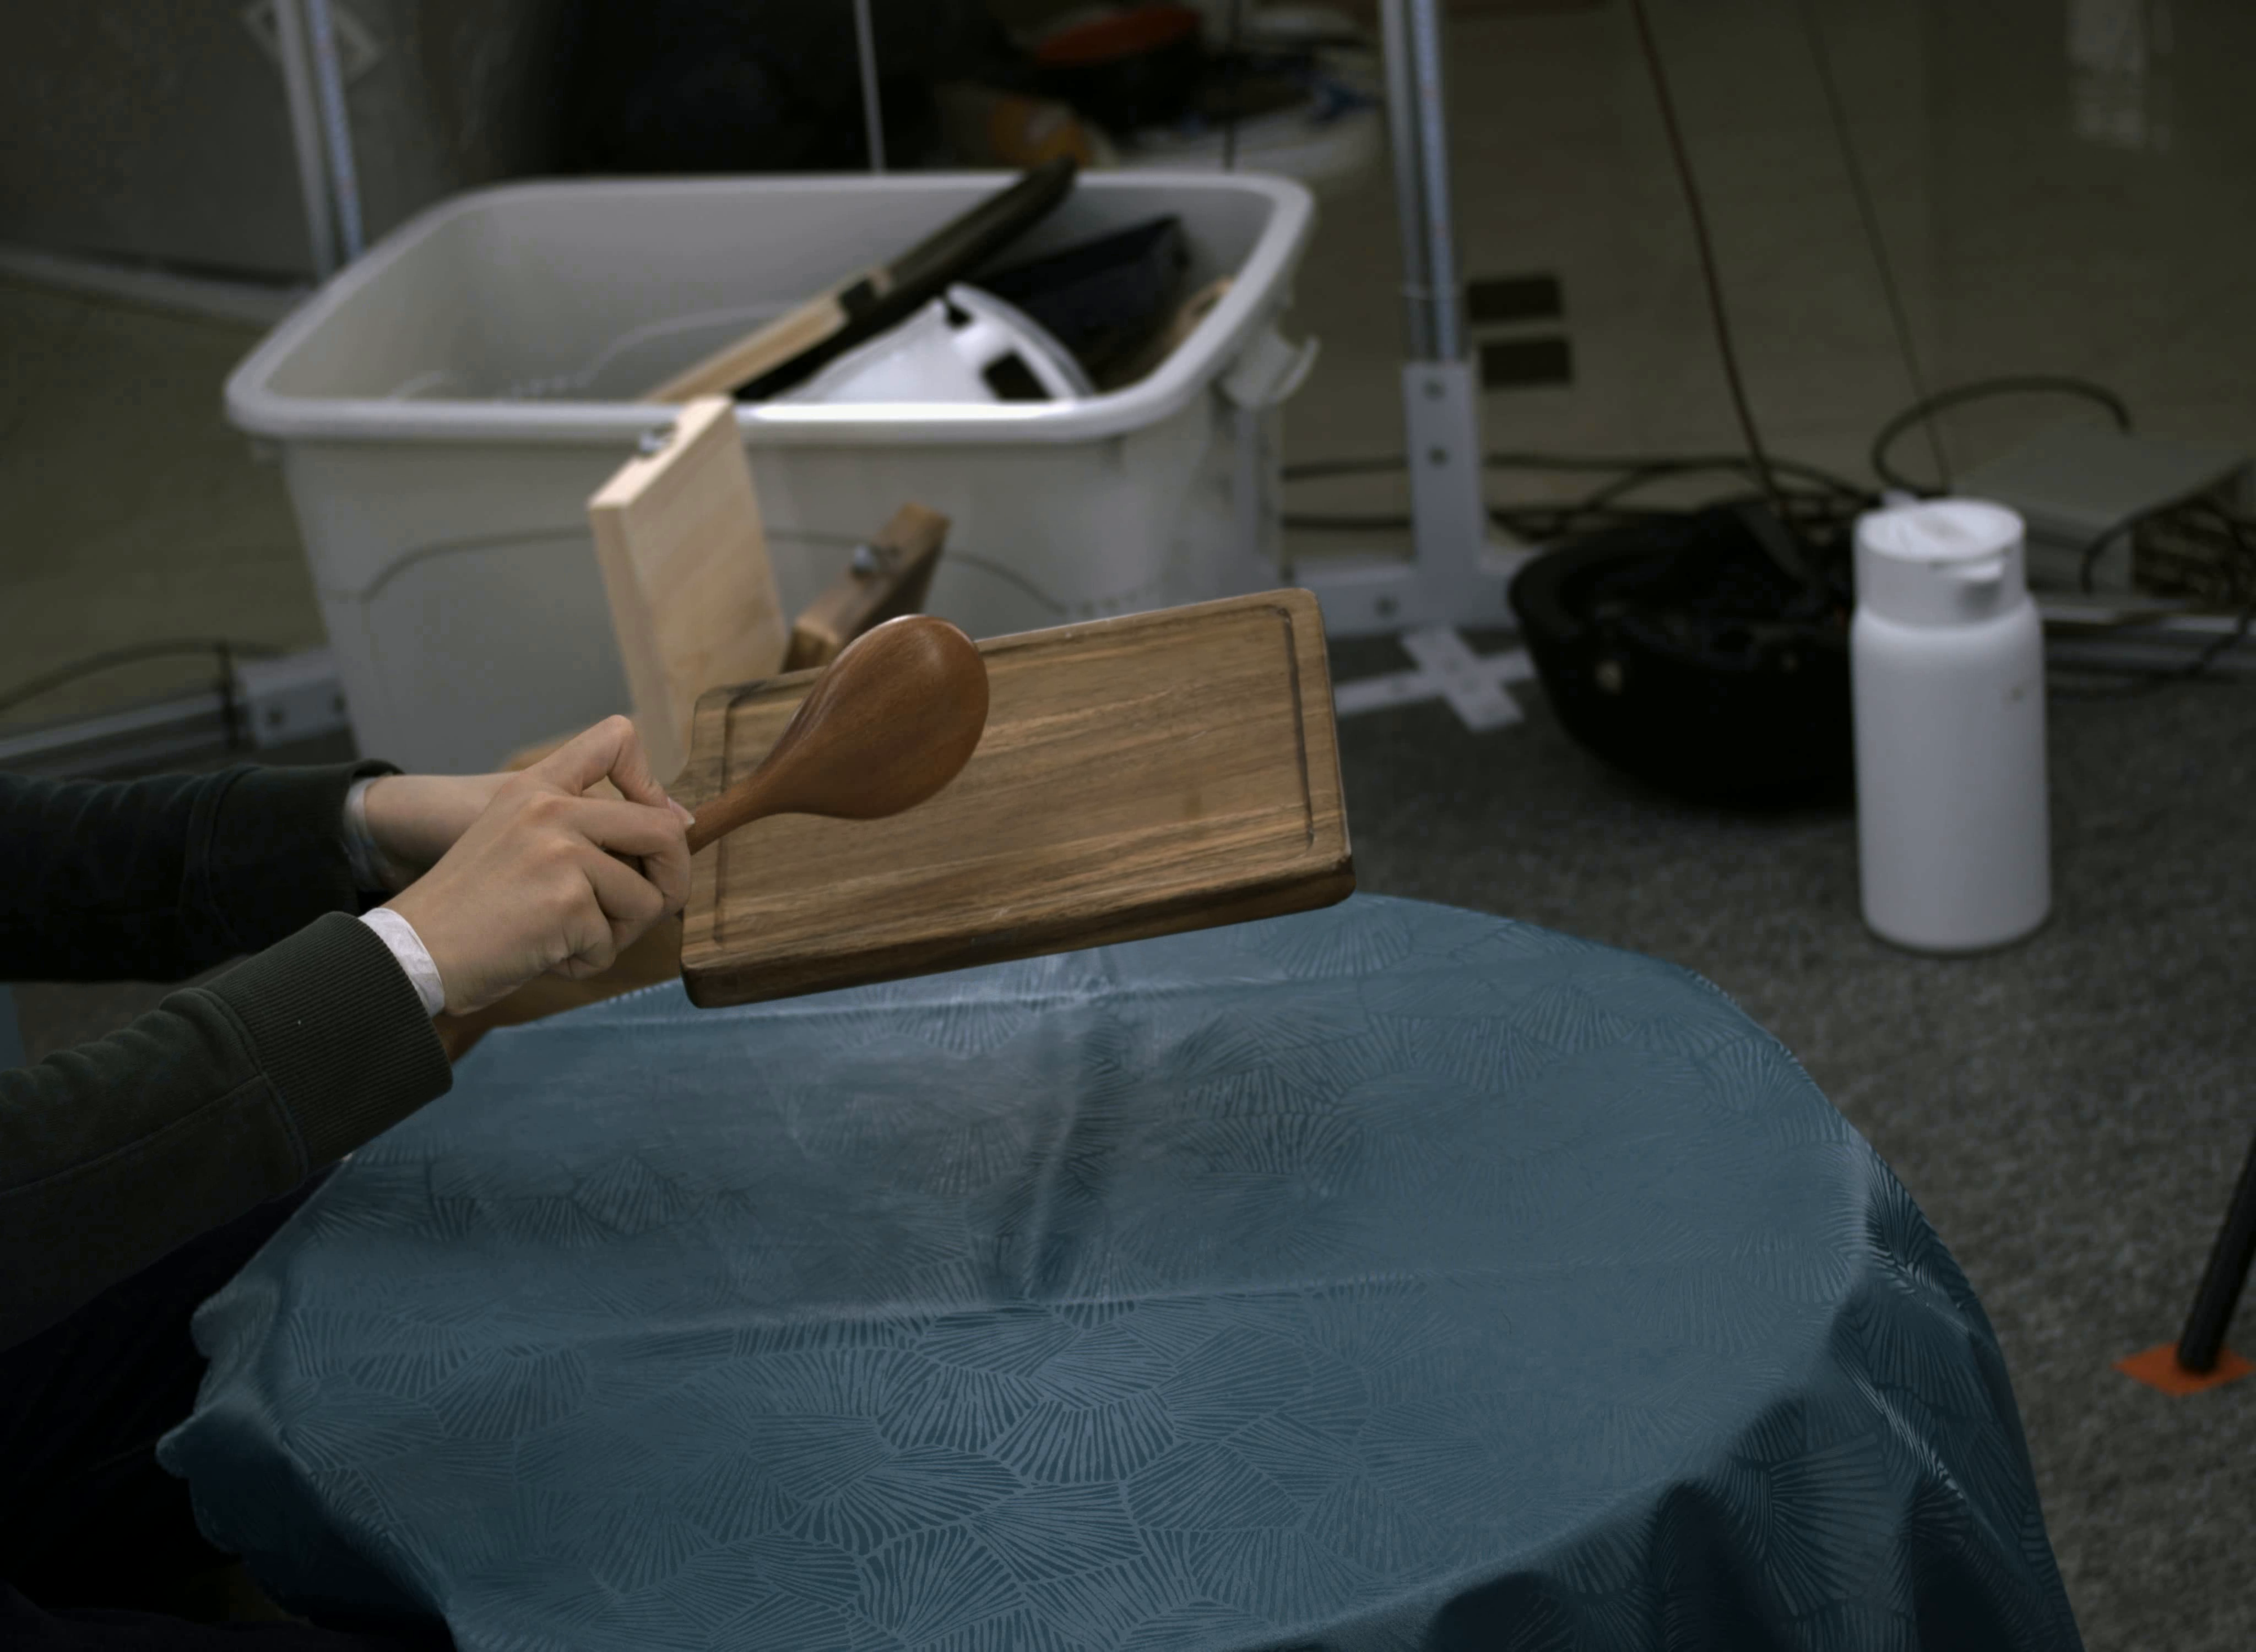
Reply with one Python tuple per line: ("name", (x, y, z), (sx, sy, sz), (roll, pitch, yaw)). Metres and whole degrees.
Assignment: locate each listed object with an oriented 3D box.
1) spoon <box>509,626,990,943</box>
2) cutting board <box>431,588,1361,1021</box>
("spoon", (-0.132, -0.009, 2.043), (0.214, 0.077, 0.017), (-27, 35, -30))
("cutting board", (-0.092, -0.003, 2.149), (0.352, 0.023, 0.197), (-10, 36, 5))
